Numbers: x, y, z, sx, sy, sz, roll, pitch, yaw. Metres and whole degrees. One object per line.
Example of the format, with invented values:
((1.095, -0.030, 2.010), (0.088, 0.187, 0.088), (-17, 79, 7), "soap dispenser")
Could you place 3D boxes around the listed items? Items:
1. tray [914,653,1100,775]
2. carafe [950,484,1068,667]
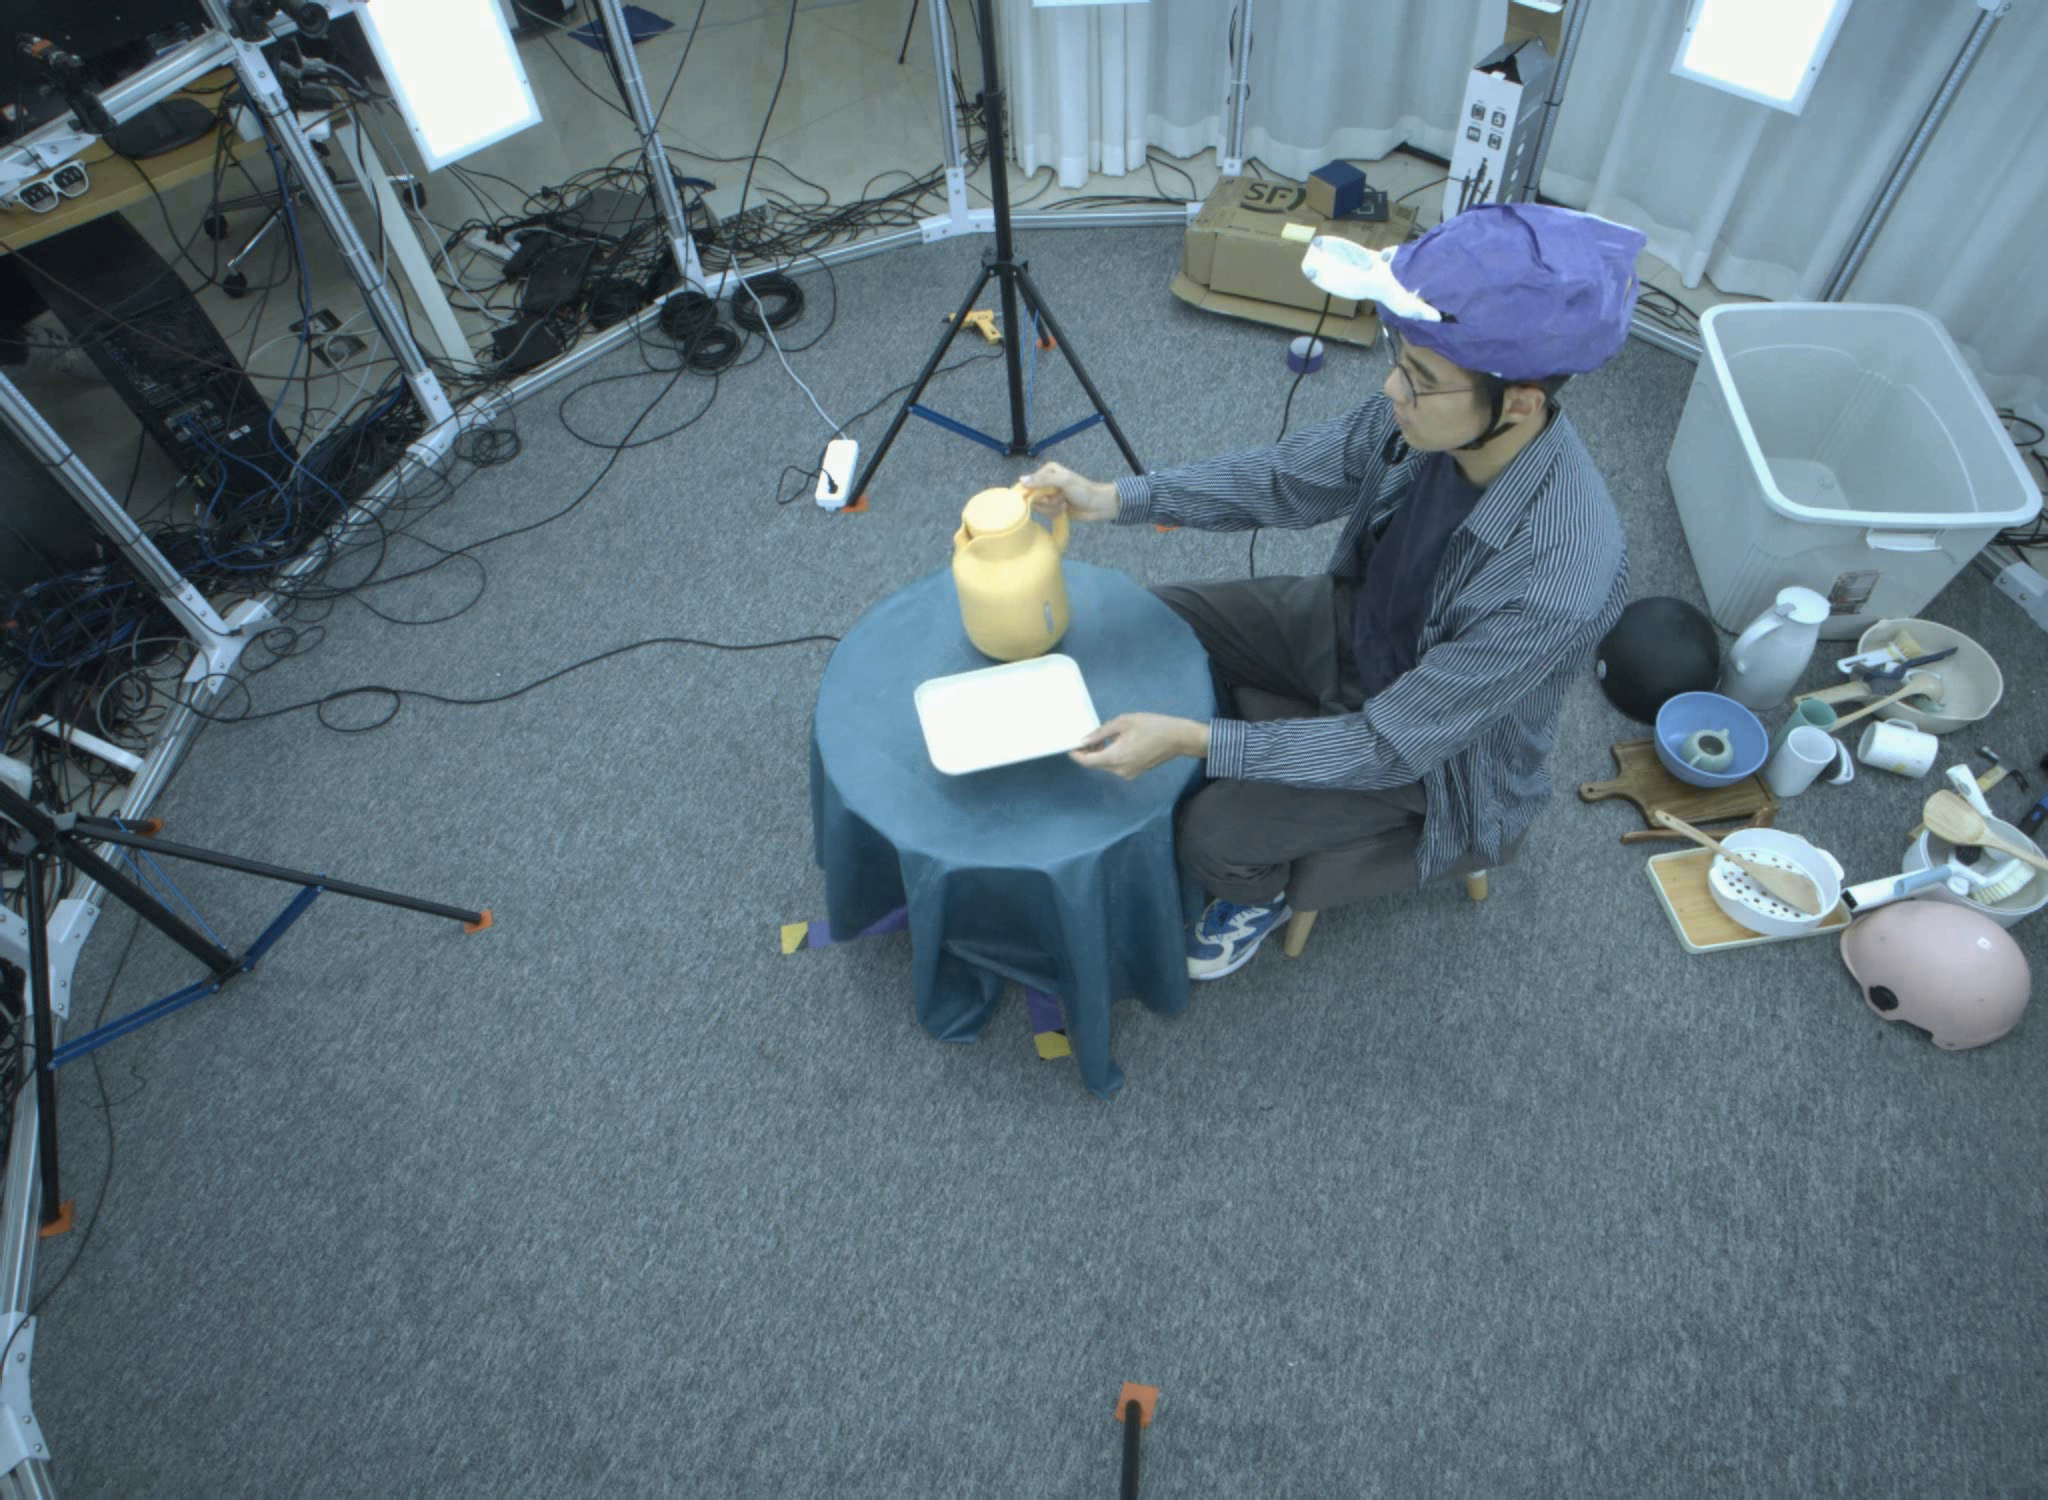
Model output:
((-0.025, -0.051, 1.724), (0.241, 0.017, 0.168), (-12, 56, -11), "tray")
((-0.012, -0.266, 1.815), (0.160, 0.264, 0.203), (34, 65, 27), "carafe")
